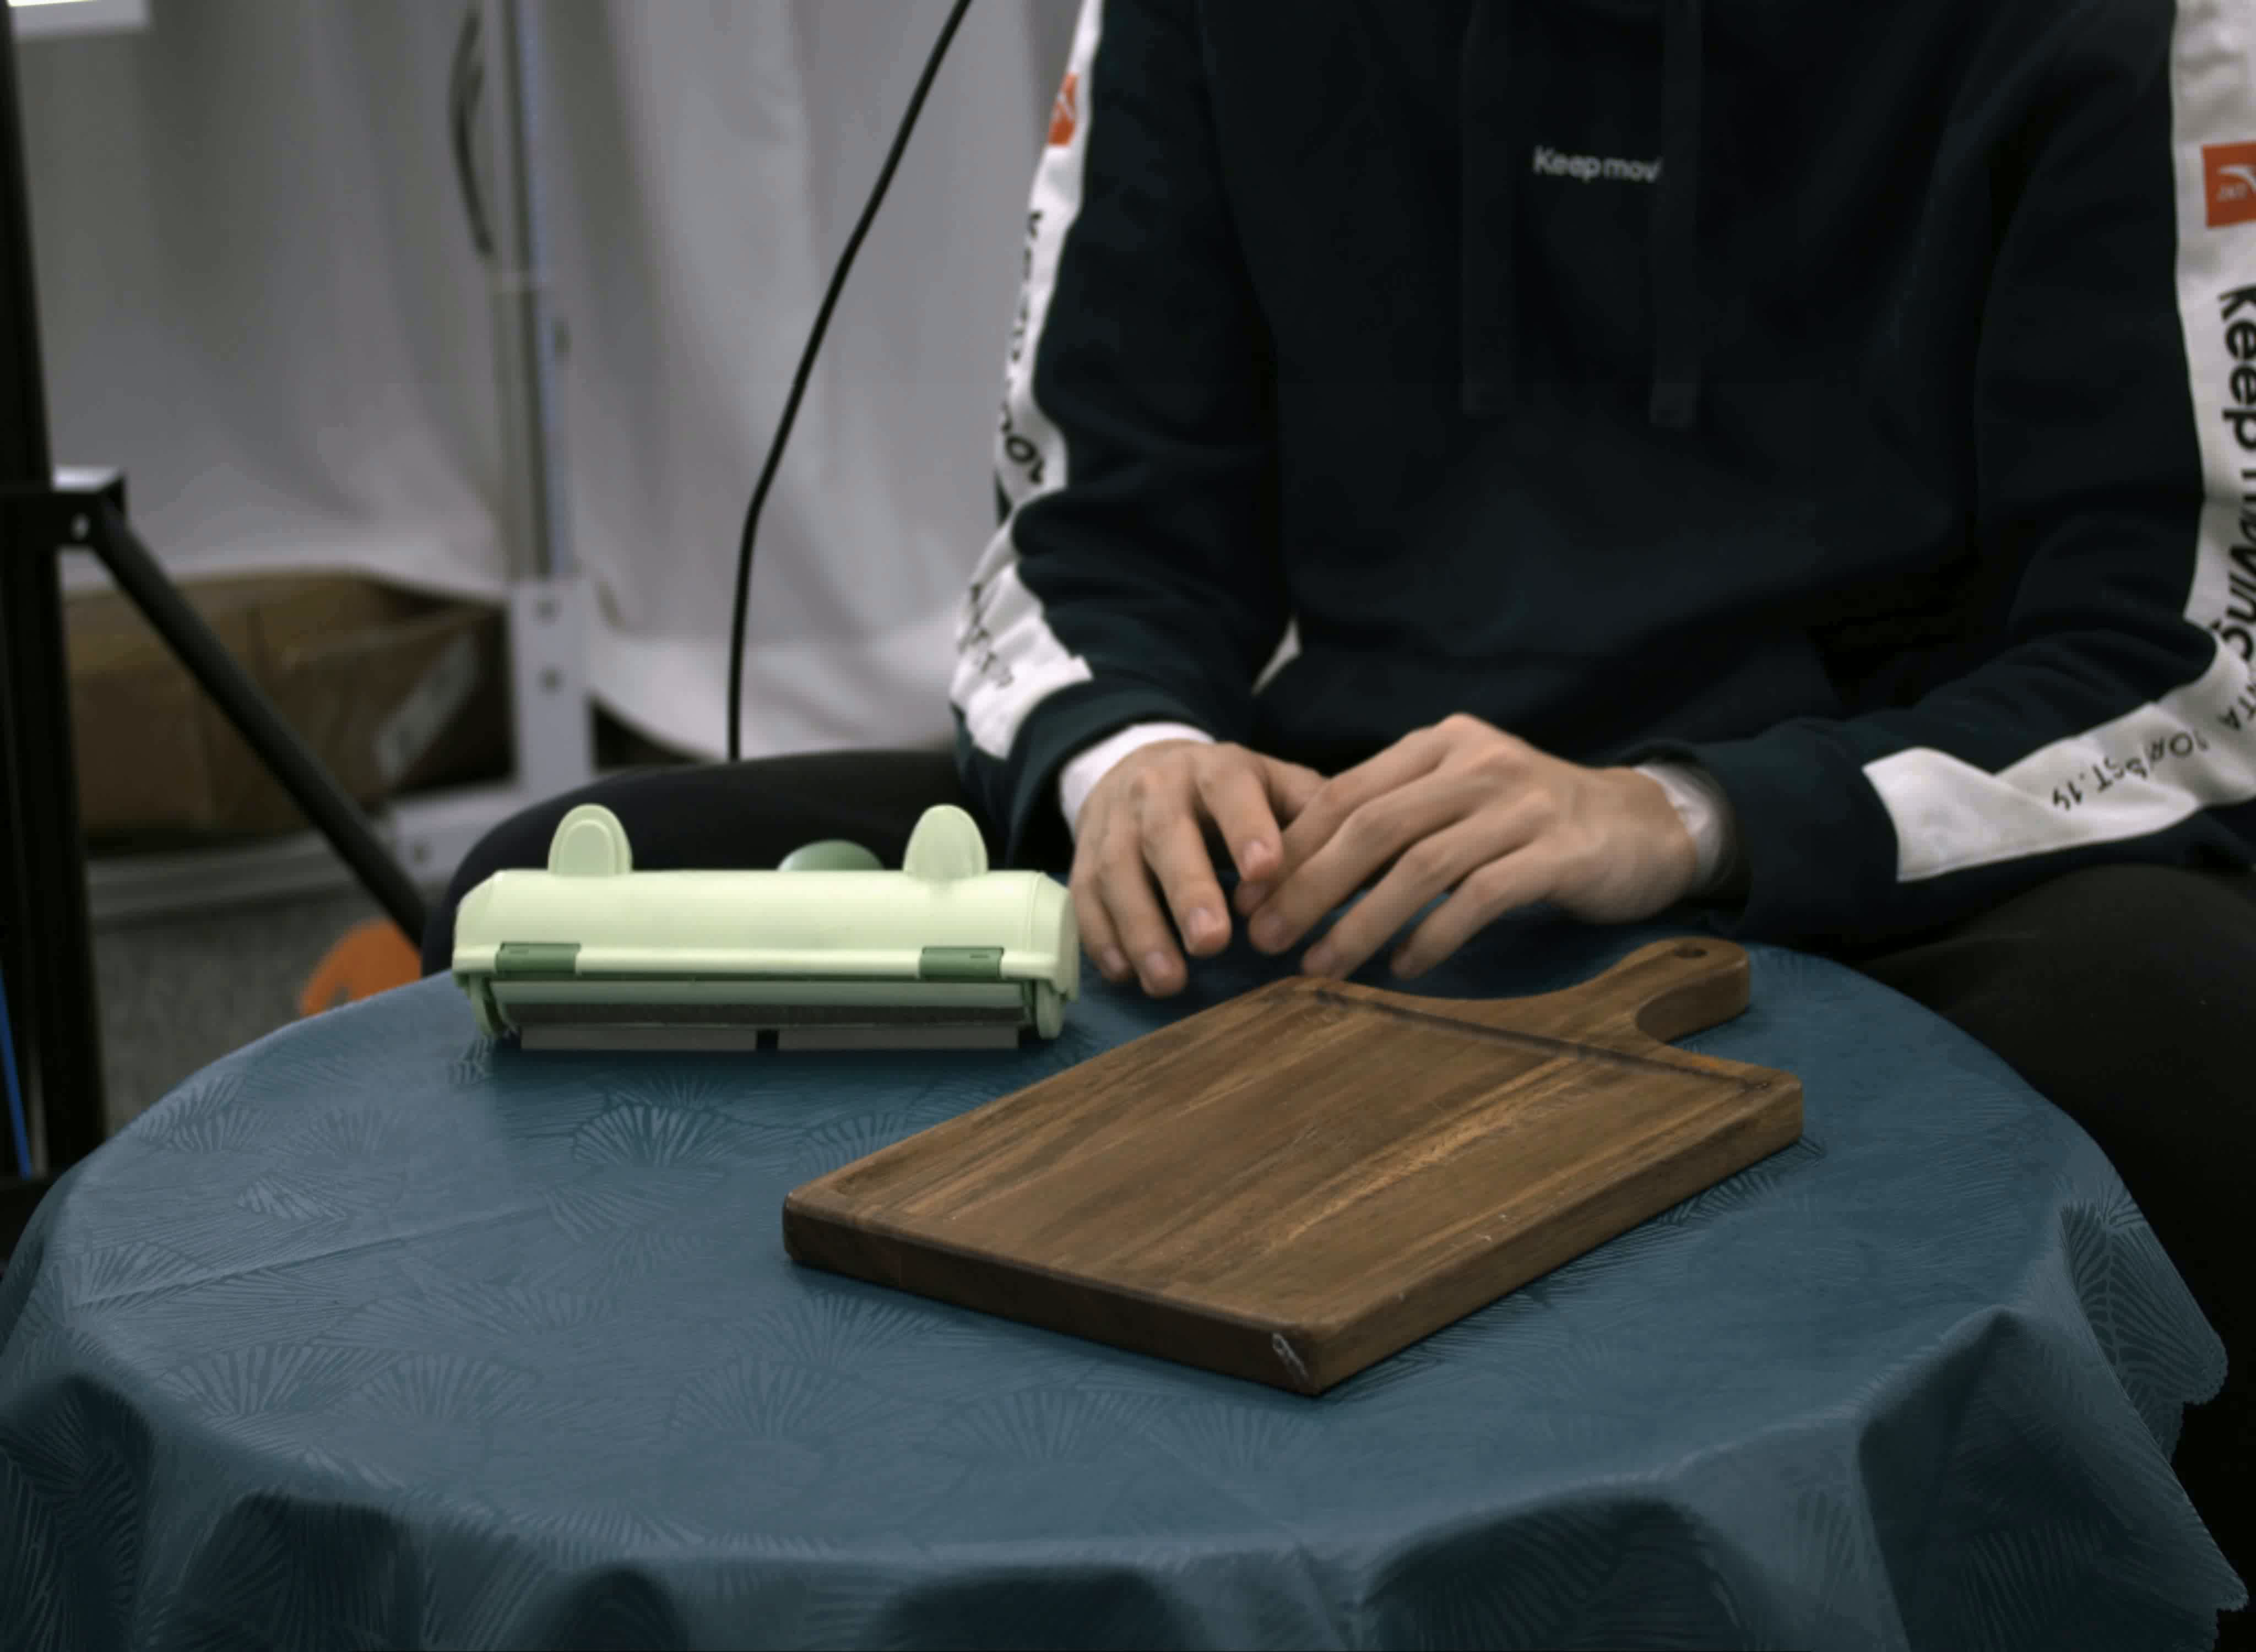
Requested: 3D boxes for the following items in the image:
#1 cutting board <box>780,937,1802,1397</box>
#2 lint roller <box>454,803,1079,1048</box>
[{"bbox_3d":[0.081,0.088,1.577,0.205,0.023,0.344,10,20,38],"label":"cutting board"},{"bbox_3d":[-0.108,0.016,1.759,0.199,0.082,0.183,-1,20,9],"label":"lint roller"}]
